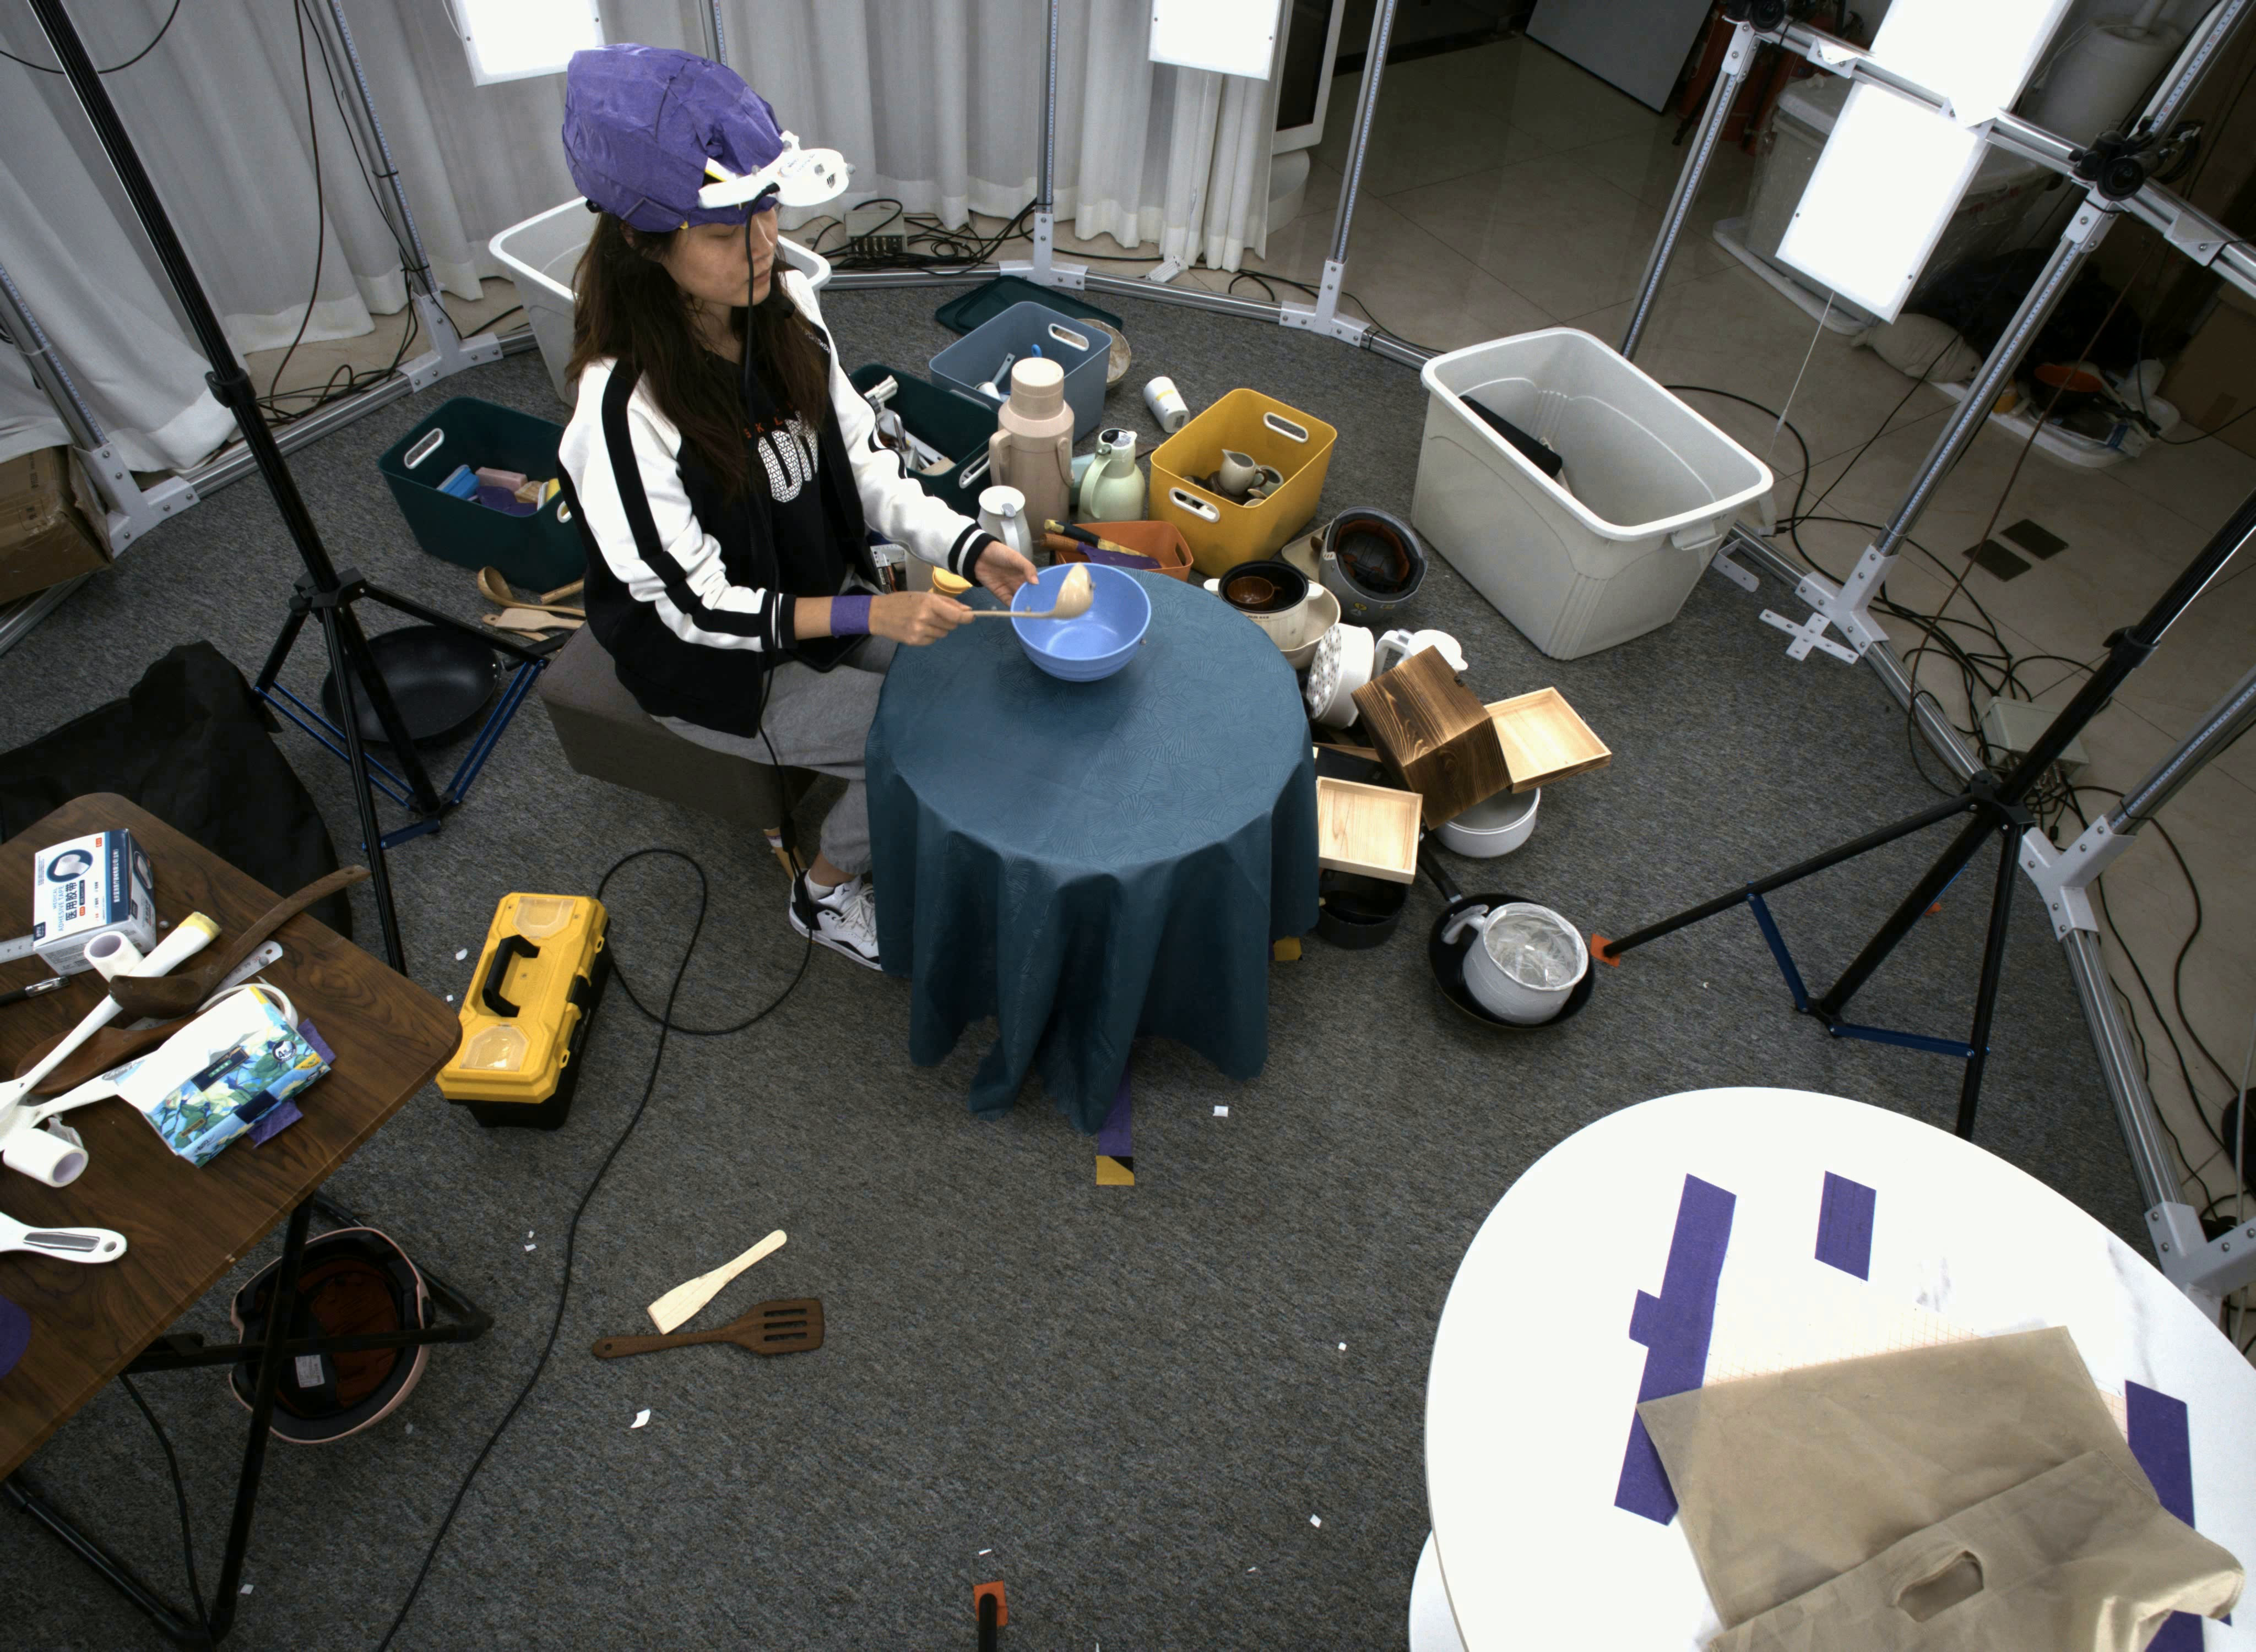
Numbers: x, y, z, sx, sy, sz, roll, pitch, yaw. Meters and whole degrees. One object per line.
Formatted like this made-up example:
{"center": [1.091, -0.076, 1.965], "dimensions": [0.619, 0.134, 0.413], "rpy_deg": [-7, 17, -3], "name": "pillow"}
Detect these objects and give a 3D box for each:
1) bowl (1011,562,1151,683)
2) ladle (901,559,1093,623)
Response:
{"center": [-0.066, -0.275, 1.835], "dimensions": [0.196, 0.093, 0.201], "rpy_deg": [0, 53, 0], "name": "bowl"}
{"center": [-0.172, -0.307, 1.688], "dimensions": [0.254, 0.071, 0.073], "rpy_deg": [-2, 78, 8], "name": "ladle"}
